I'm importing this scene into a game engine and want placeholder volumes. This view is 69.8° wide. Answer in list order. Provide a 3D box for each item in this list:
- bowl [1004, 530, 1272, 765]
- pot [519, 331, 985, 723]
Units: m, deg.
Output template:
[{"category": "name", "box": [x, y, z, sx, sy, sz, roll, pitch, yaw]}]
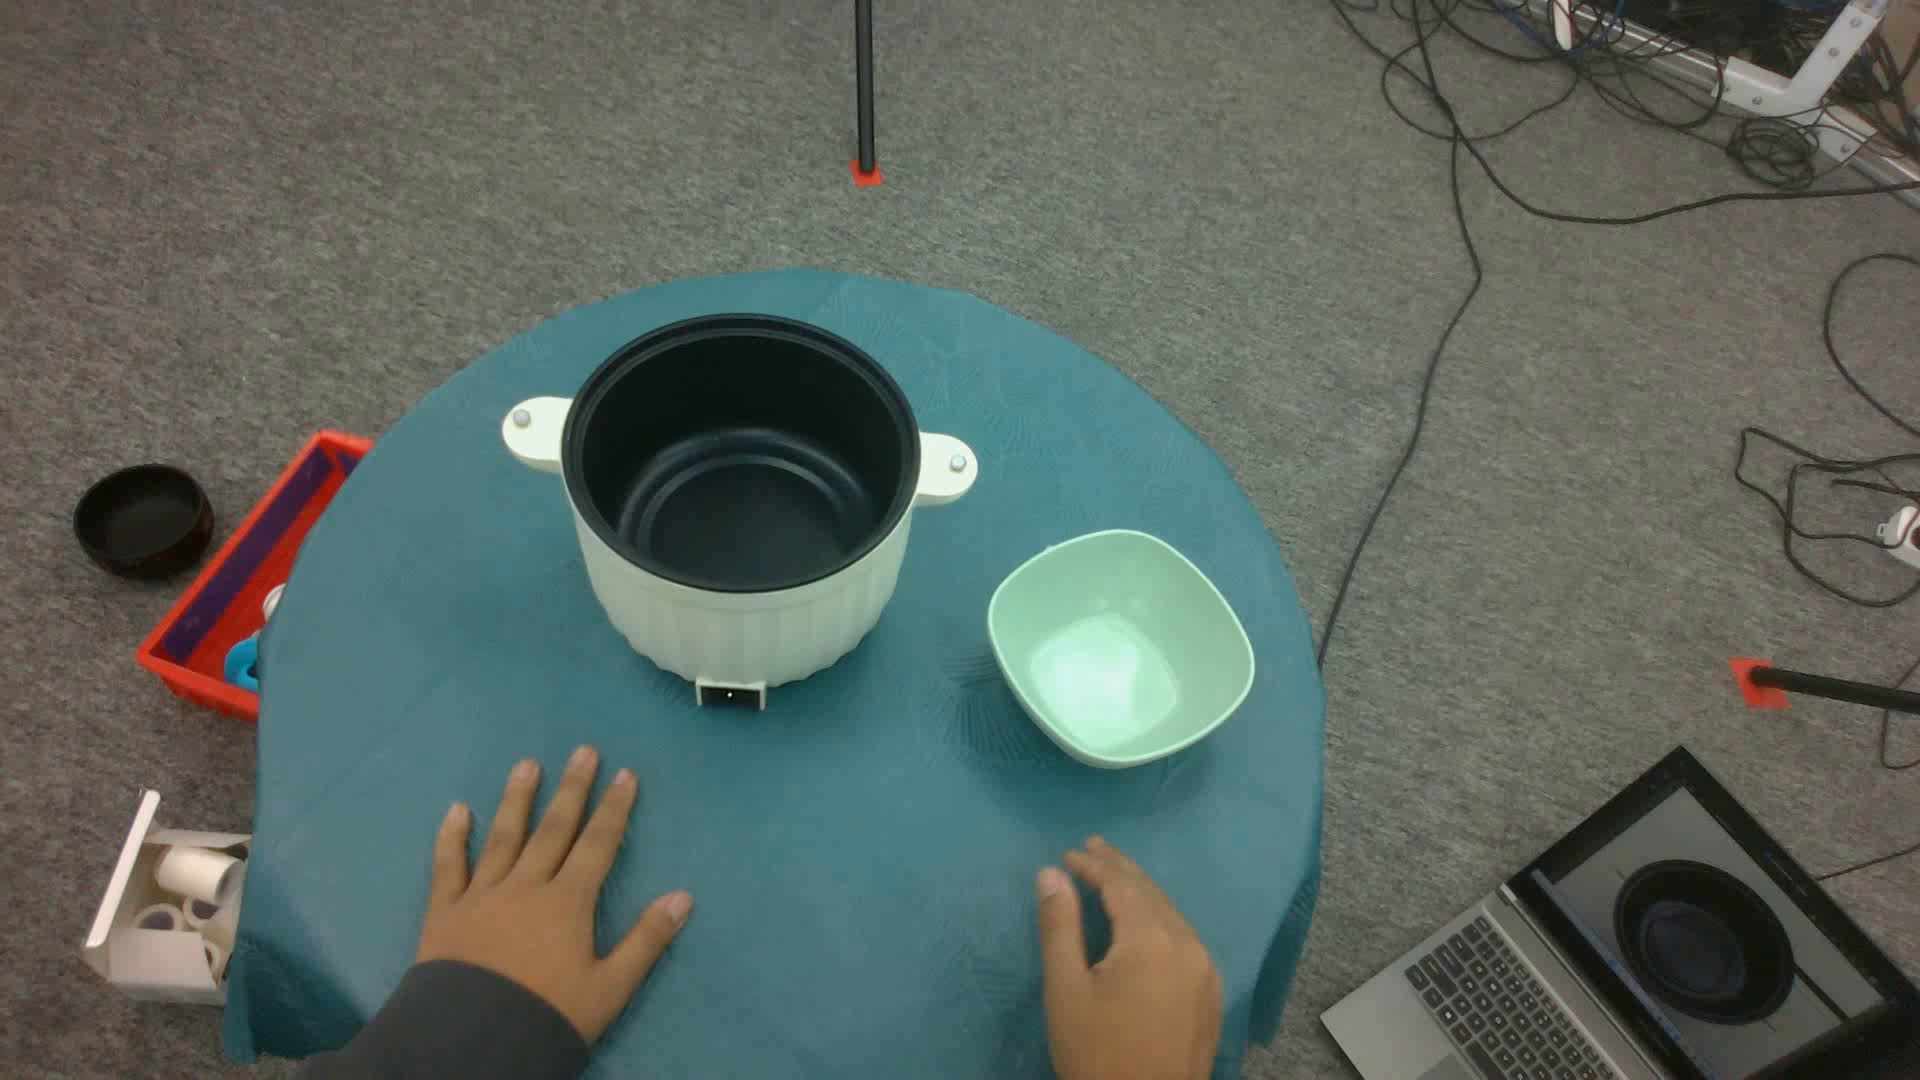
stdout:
[{"category": "bowl", "box": [0.097, 0.070, 0.789, 0.151, 0.058, 0.152, 3, 53, -4]}, {"category": "pot", "box": [-0.113, -0.009, 0.771, 0.240, 0.142, 0.191, 2, 58, -7]}]
